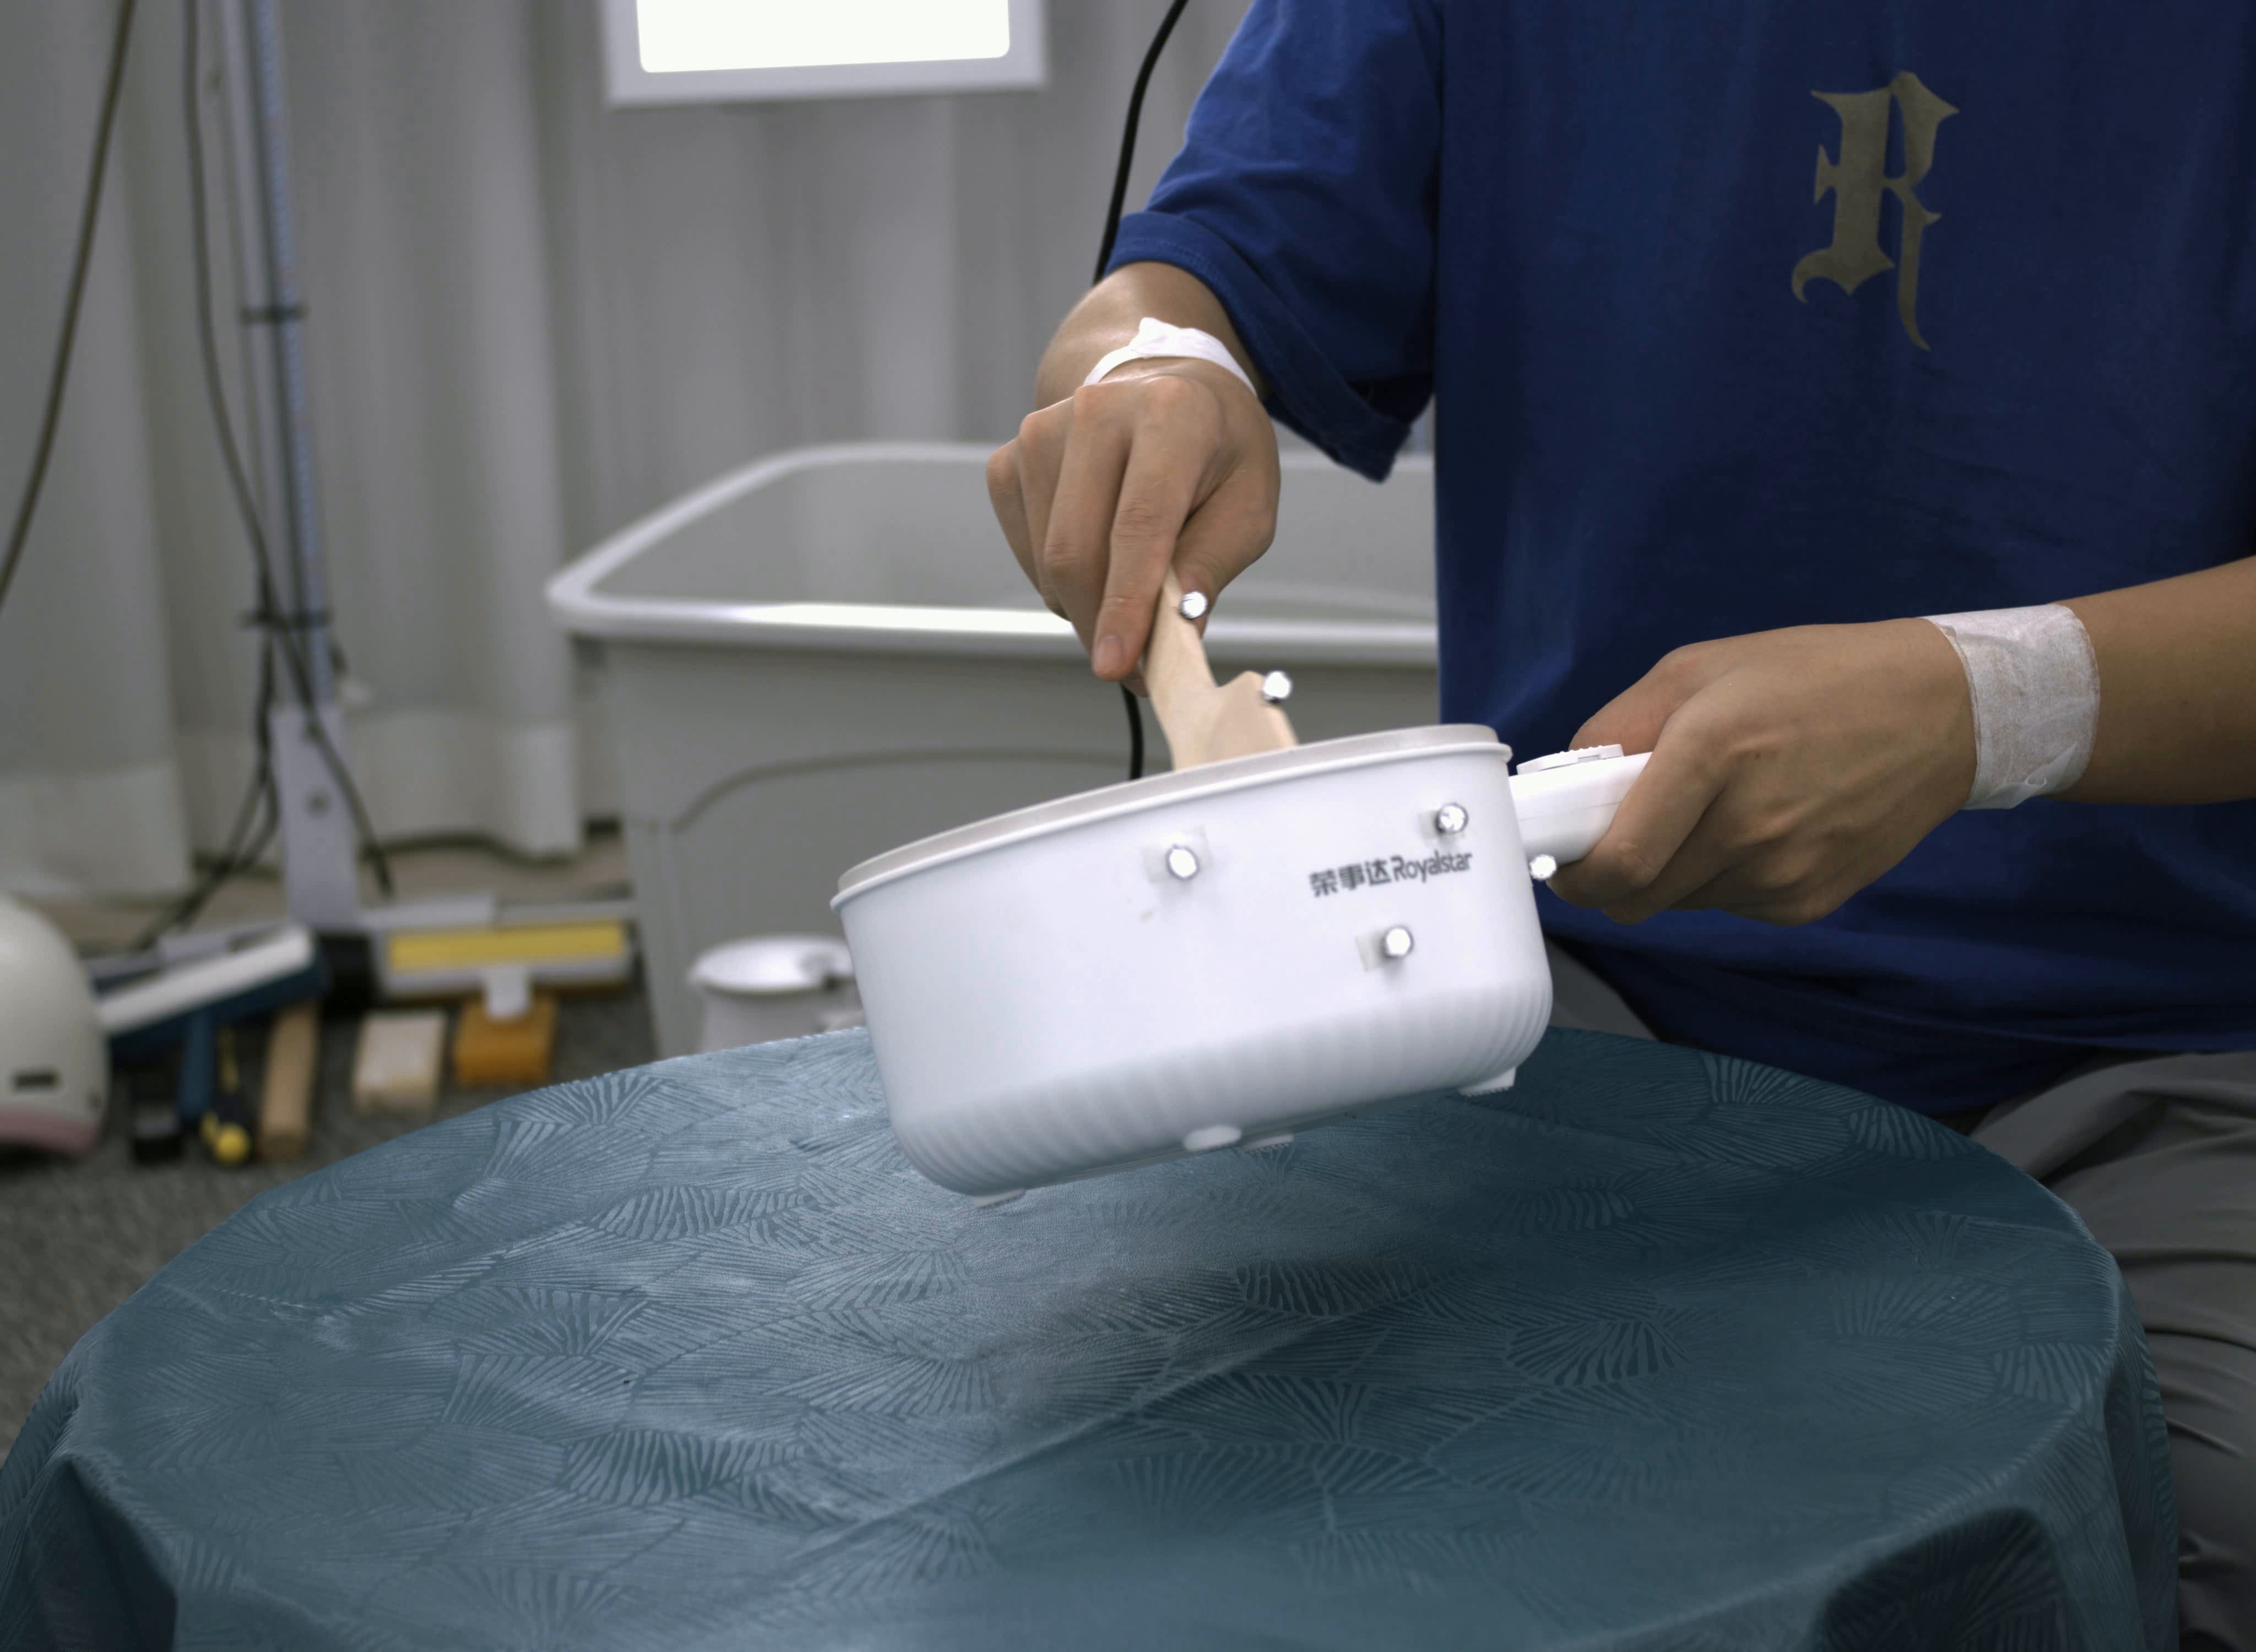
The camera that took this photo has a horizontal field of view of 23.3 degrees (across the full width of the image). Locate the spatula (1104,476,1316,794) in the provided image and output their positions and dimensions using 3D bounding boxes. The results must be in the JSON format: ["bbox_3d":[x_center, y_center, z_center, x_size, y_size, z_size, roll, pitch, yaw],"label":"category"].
[{"bbox_3d":[0.019,-0.044,1.638,0.010,0.072,0.296,12,22,-15],"label":"spatula"}]

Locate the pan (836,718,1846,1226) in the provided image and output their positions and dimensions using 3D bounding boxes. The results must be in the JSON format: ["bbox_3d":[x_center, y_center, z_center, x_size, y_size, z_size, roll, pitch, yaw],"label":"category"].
[{"bbox_3d":[0.083,0.037,1.613,0.353,0.103,0.201,-9,-9,-39],"label":"pan"}]
